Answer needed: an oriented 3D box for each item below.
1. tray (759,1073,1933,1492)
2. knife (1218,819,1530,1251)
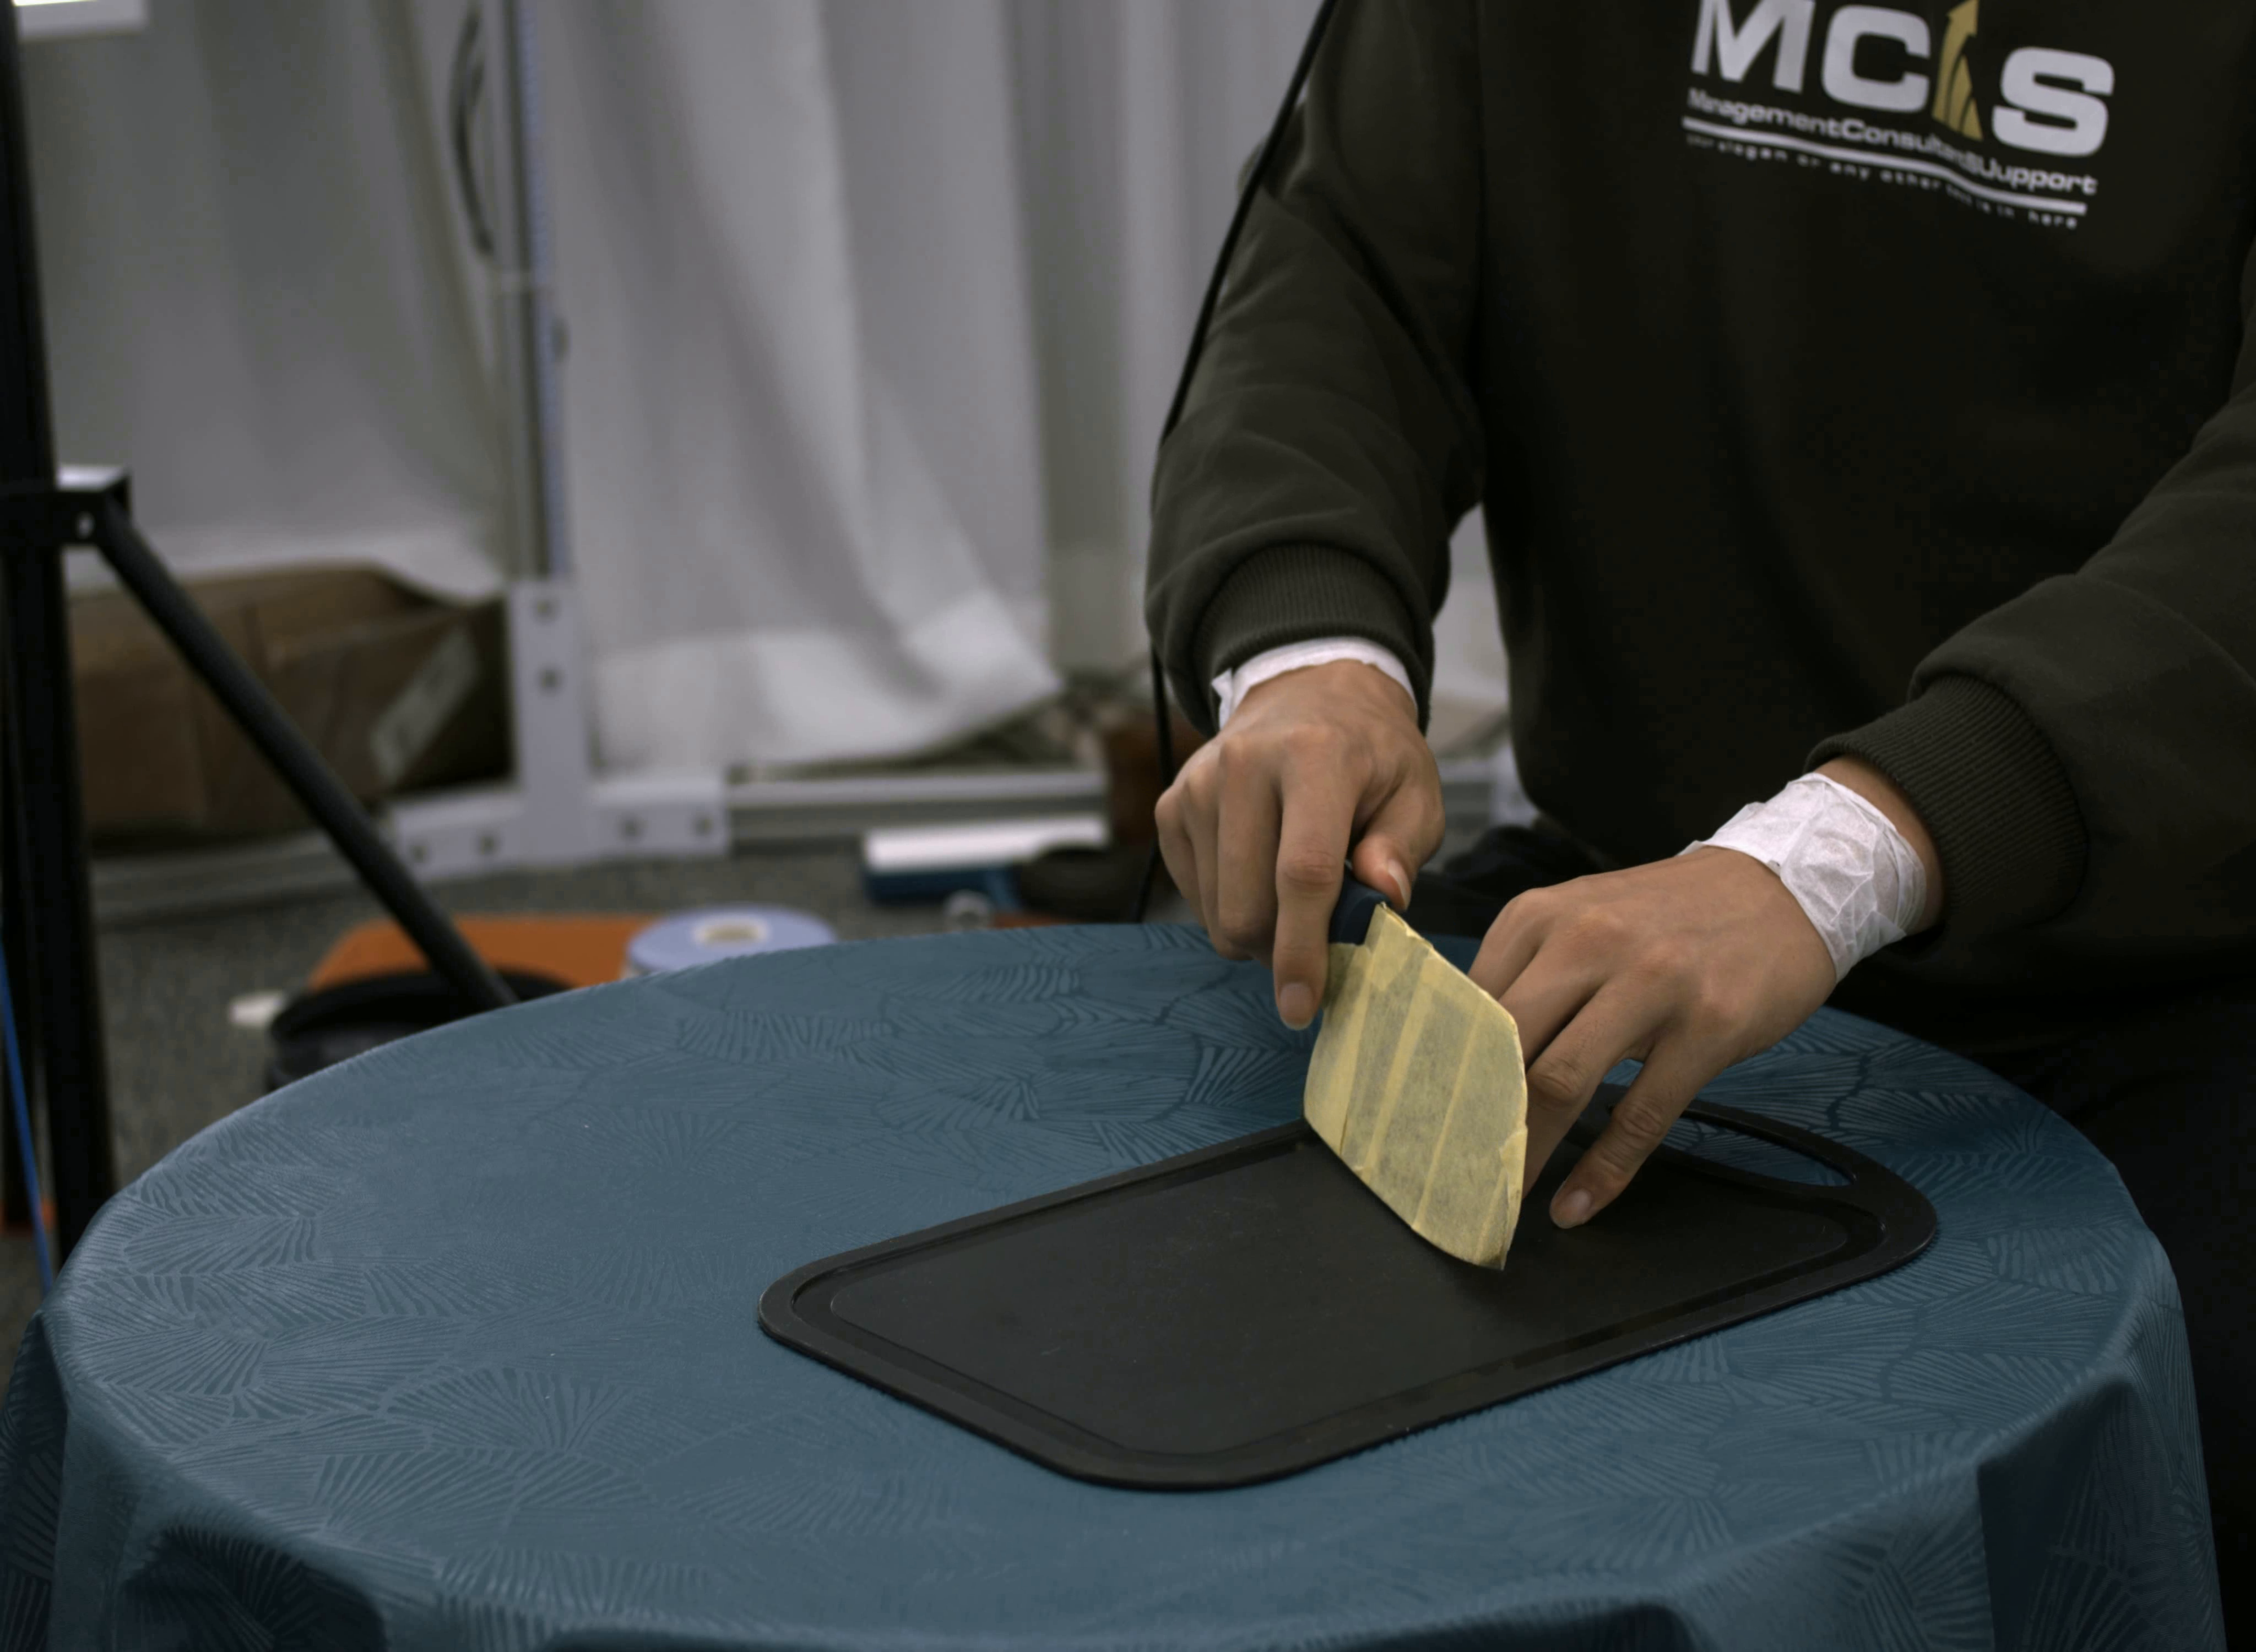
[{"bbox_3d":[0.069,0.120,1.495,0.318,0.010,0.216,-14,19,-35],"label":"tray"},{"bbox_3d":[0.070,0.057,1.578,0.027,0.081,0.294,15,13,-18],"label":"knife"}]
